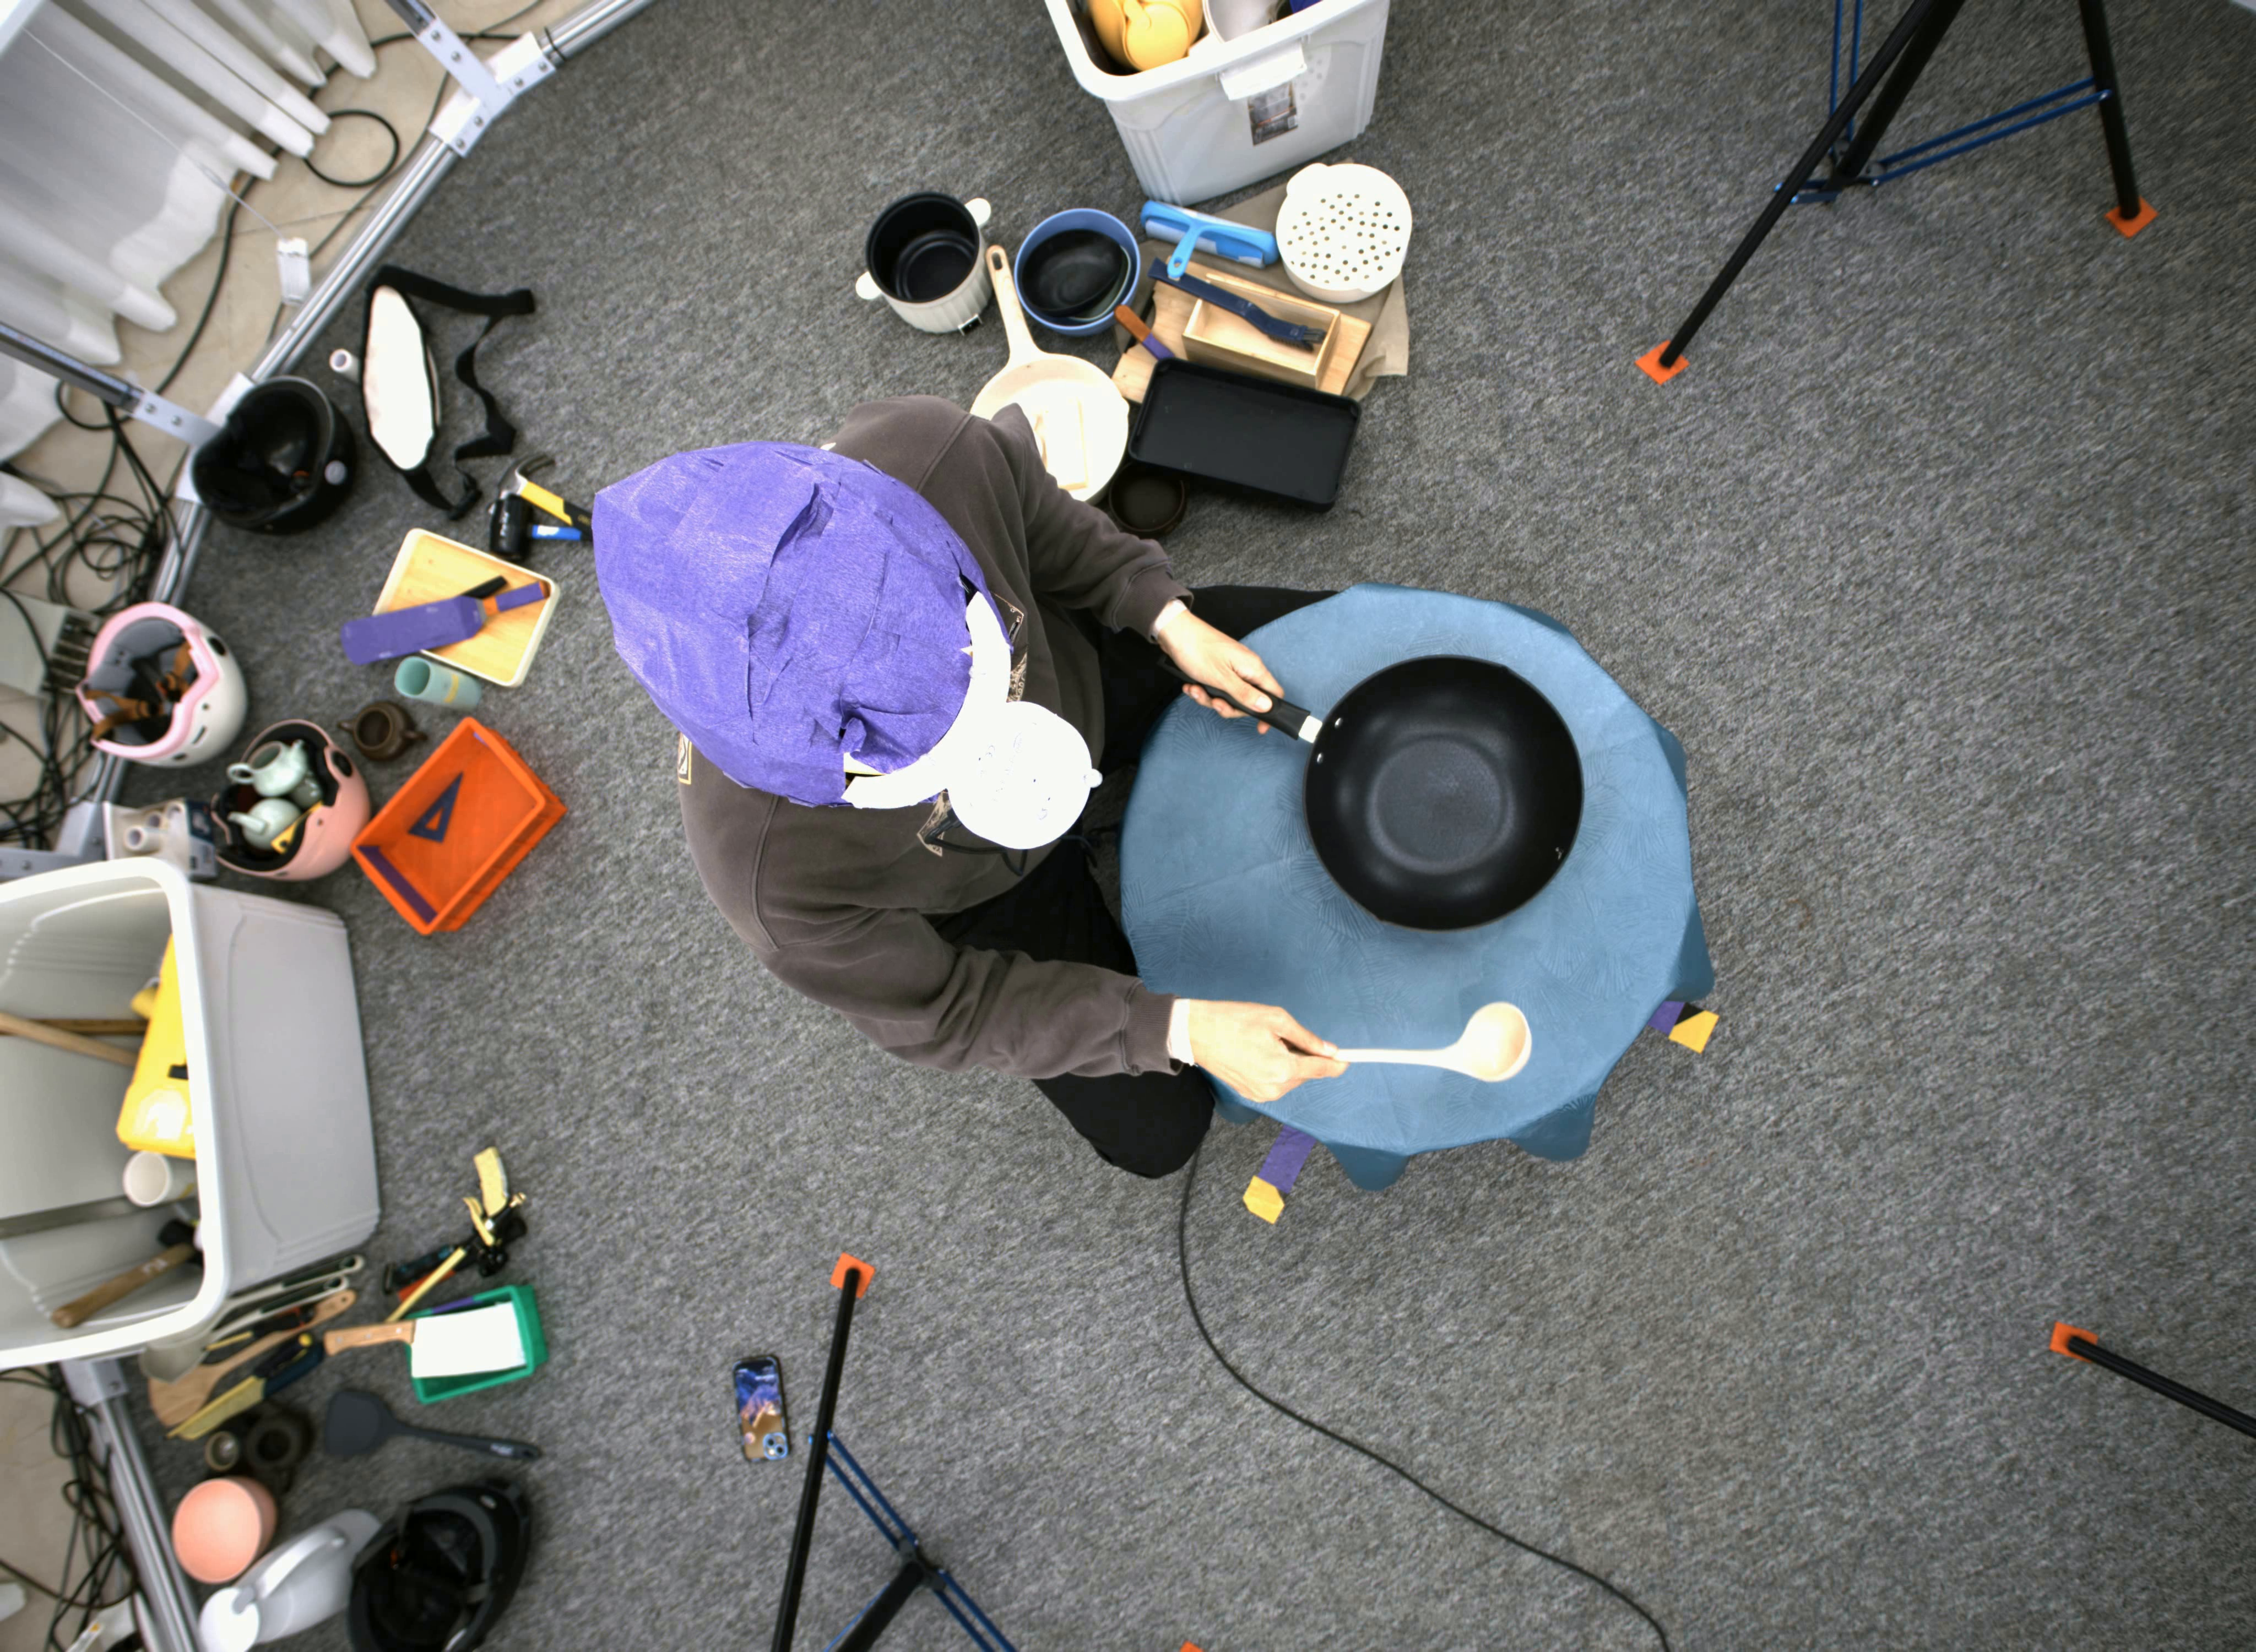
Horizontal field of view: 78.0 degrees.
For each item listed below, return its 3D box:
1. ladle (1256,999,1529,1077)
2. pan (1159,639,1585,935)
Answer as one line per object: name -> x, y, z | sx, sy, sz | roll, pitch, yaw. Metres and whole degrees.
ladle -> 0.247, 0.197, 1.267 | 0.254, 0.074, 0.070 | 0, 59, -15
pan -> 0.240, -0.071, 1.428 | 0.462, 0.087, 0.288 | 28, 92, 12
